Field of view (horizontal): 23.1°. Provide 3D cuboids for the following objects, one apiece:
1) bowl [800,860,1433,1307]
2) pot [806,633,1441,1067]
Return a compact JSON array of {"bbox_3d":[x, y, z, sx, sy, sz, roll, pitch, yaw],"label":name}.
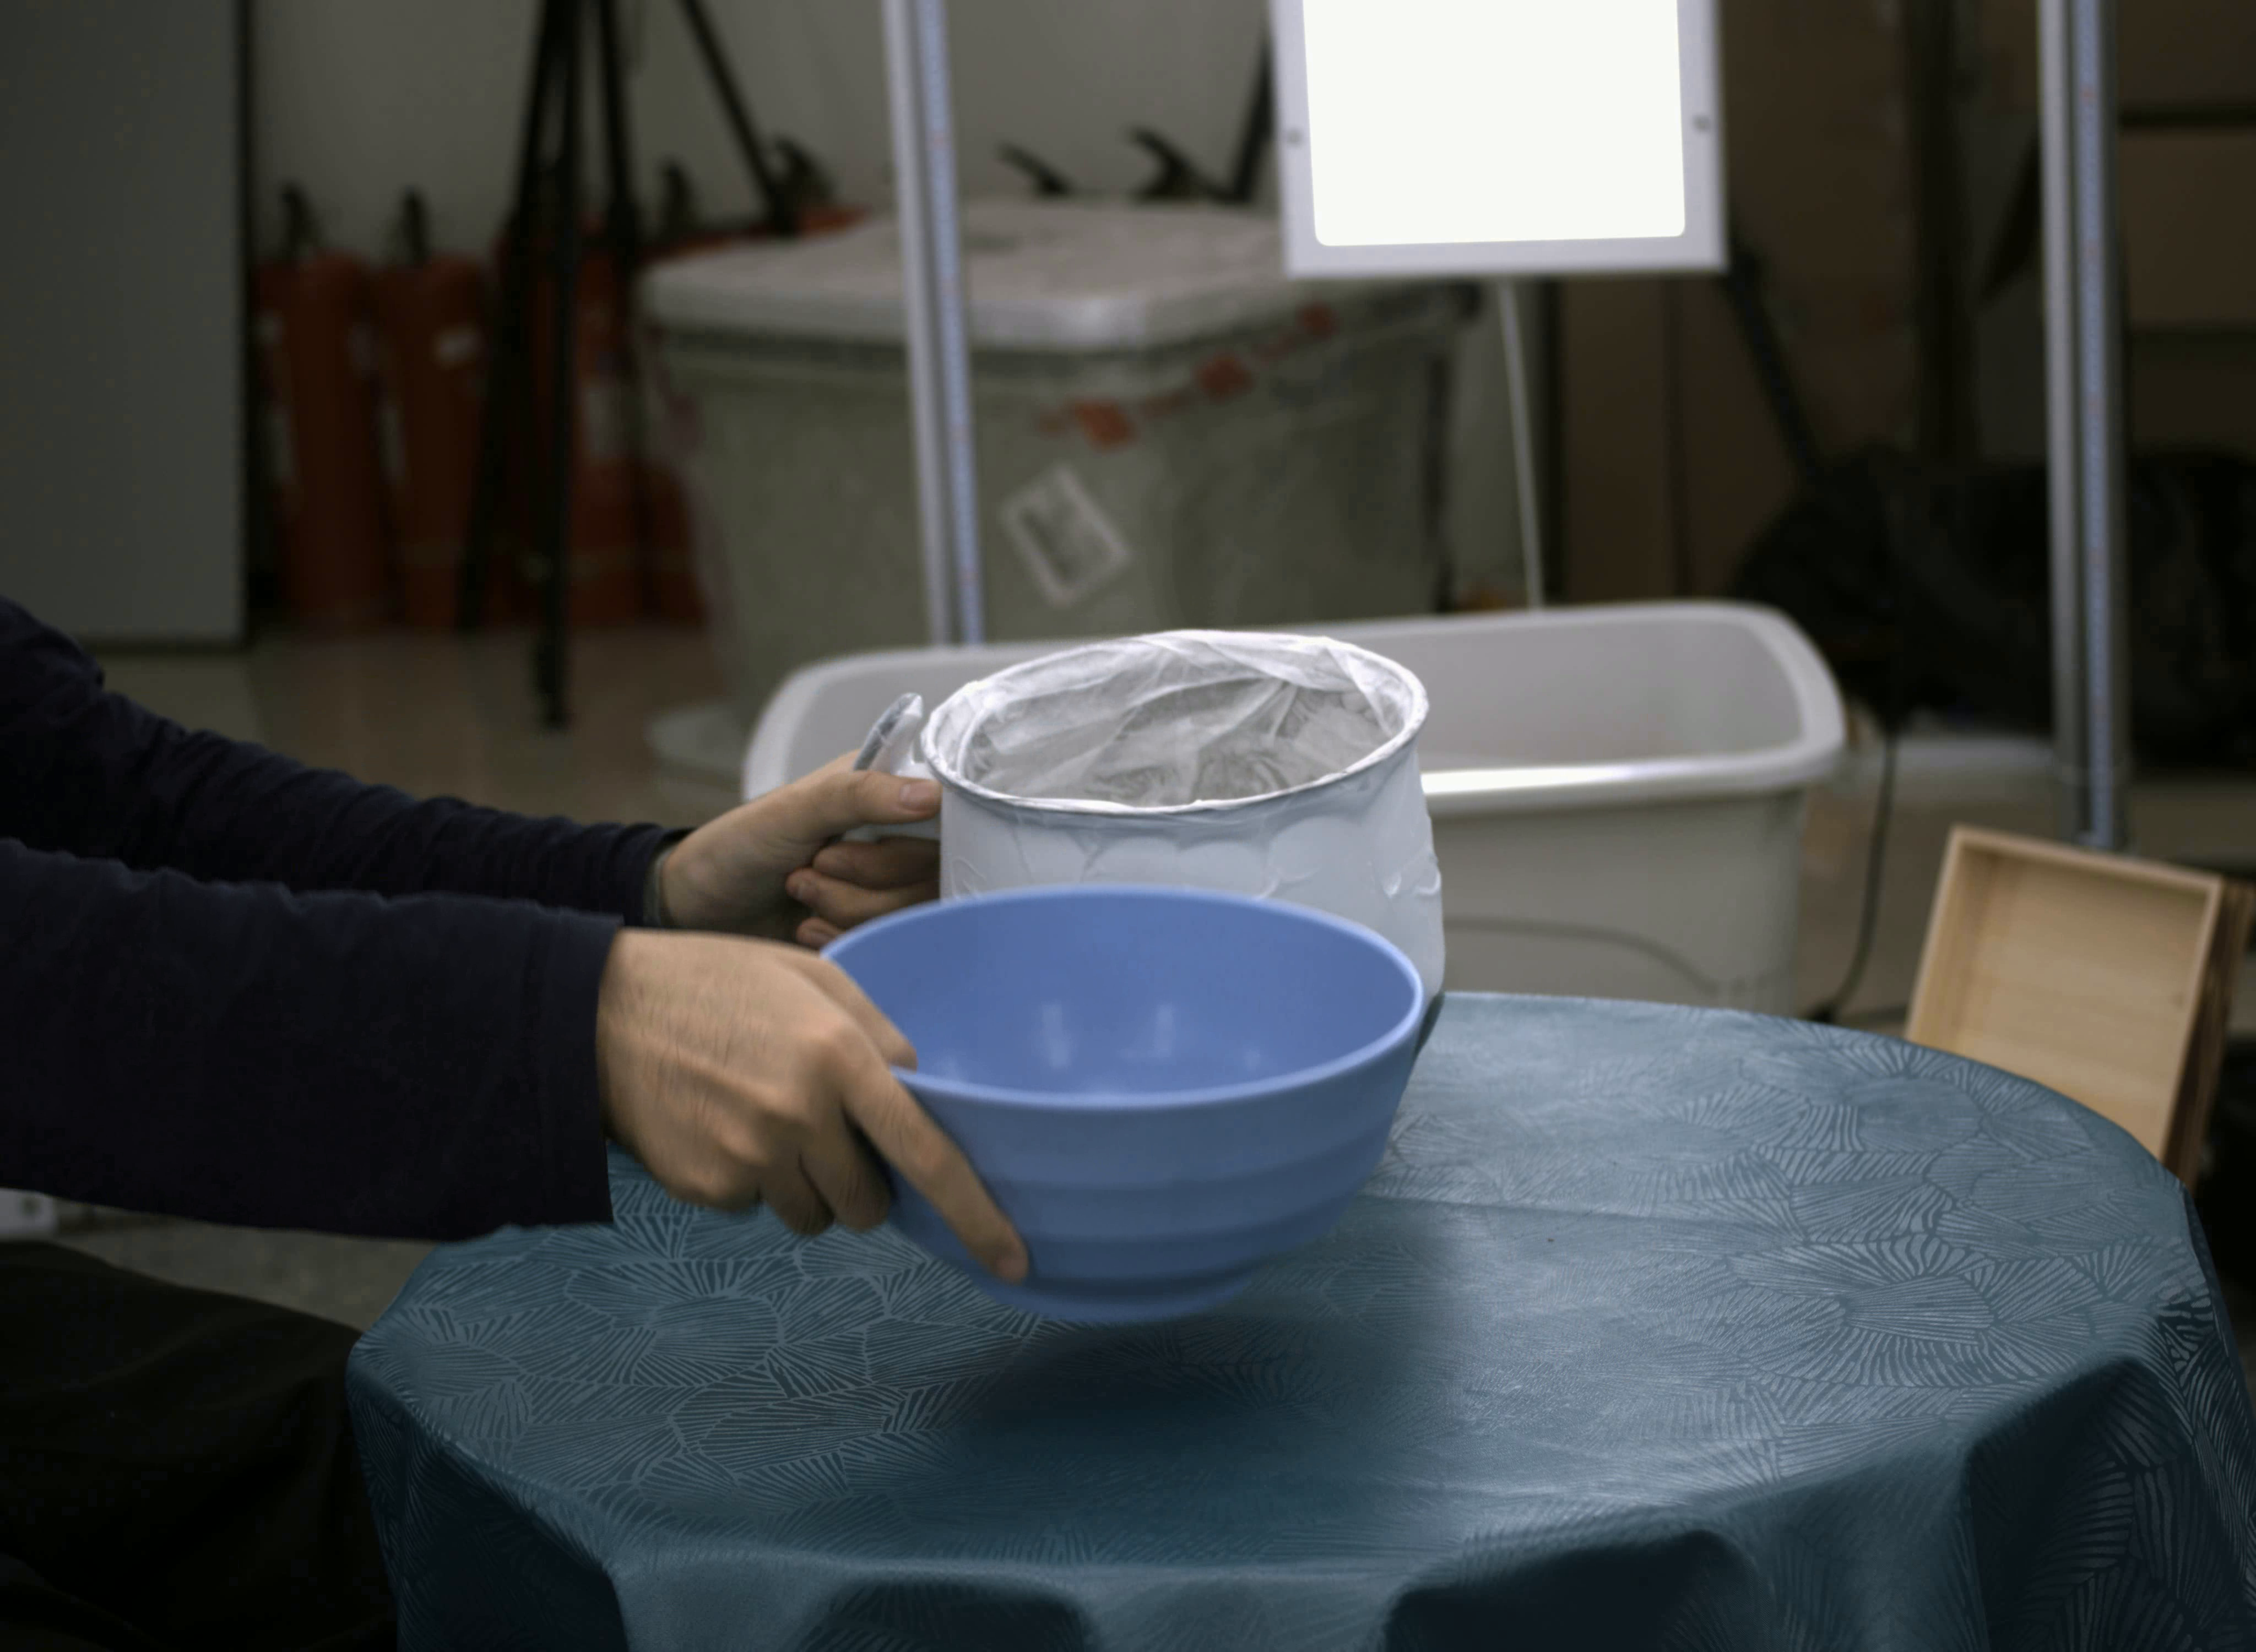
[{"bbox_3d":[-0.005,0.088,1.716,0.196,0.096,0.196,1,20,-2],"label":"bowl"},{"bbox_3d":[-0.005,0.018,1.939,0.236,0.137,0.176,3,20,19],"label":"pot"}]
